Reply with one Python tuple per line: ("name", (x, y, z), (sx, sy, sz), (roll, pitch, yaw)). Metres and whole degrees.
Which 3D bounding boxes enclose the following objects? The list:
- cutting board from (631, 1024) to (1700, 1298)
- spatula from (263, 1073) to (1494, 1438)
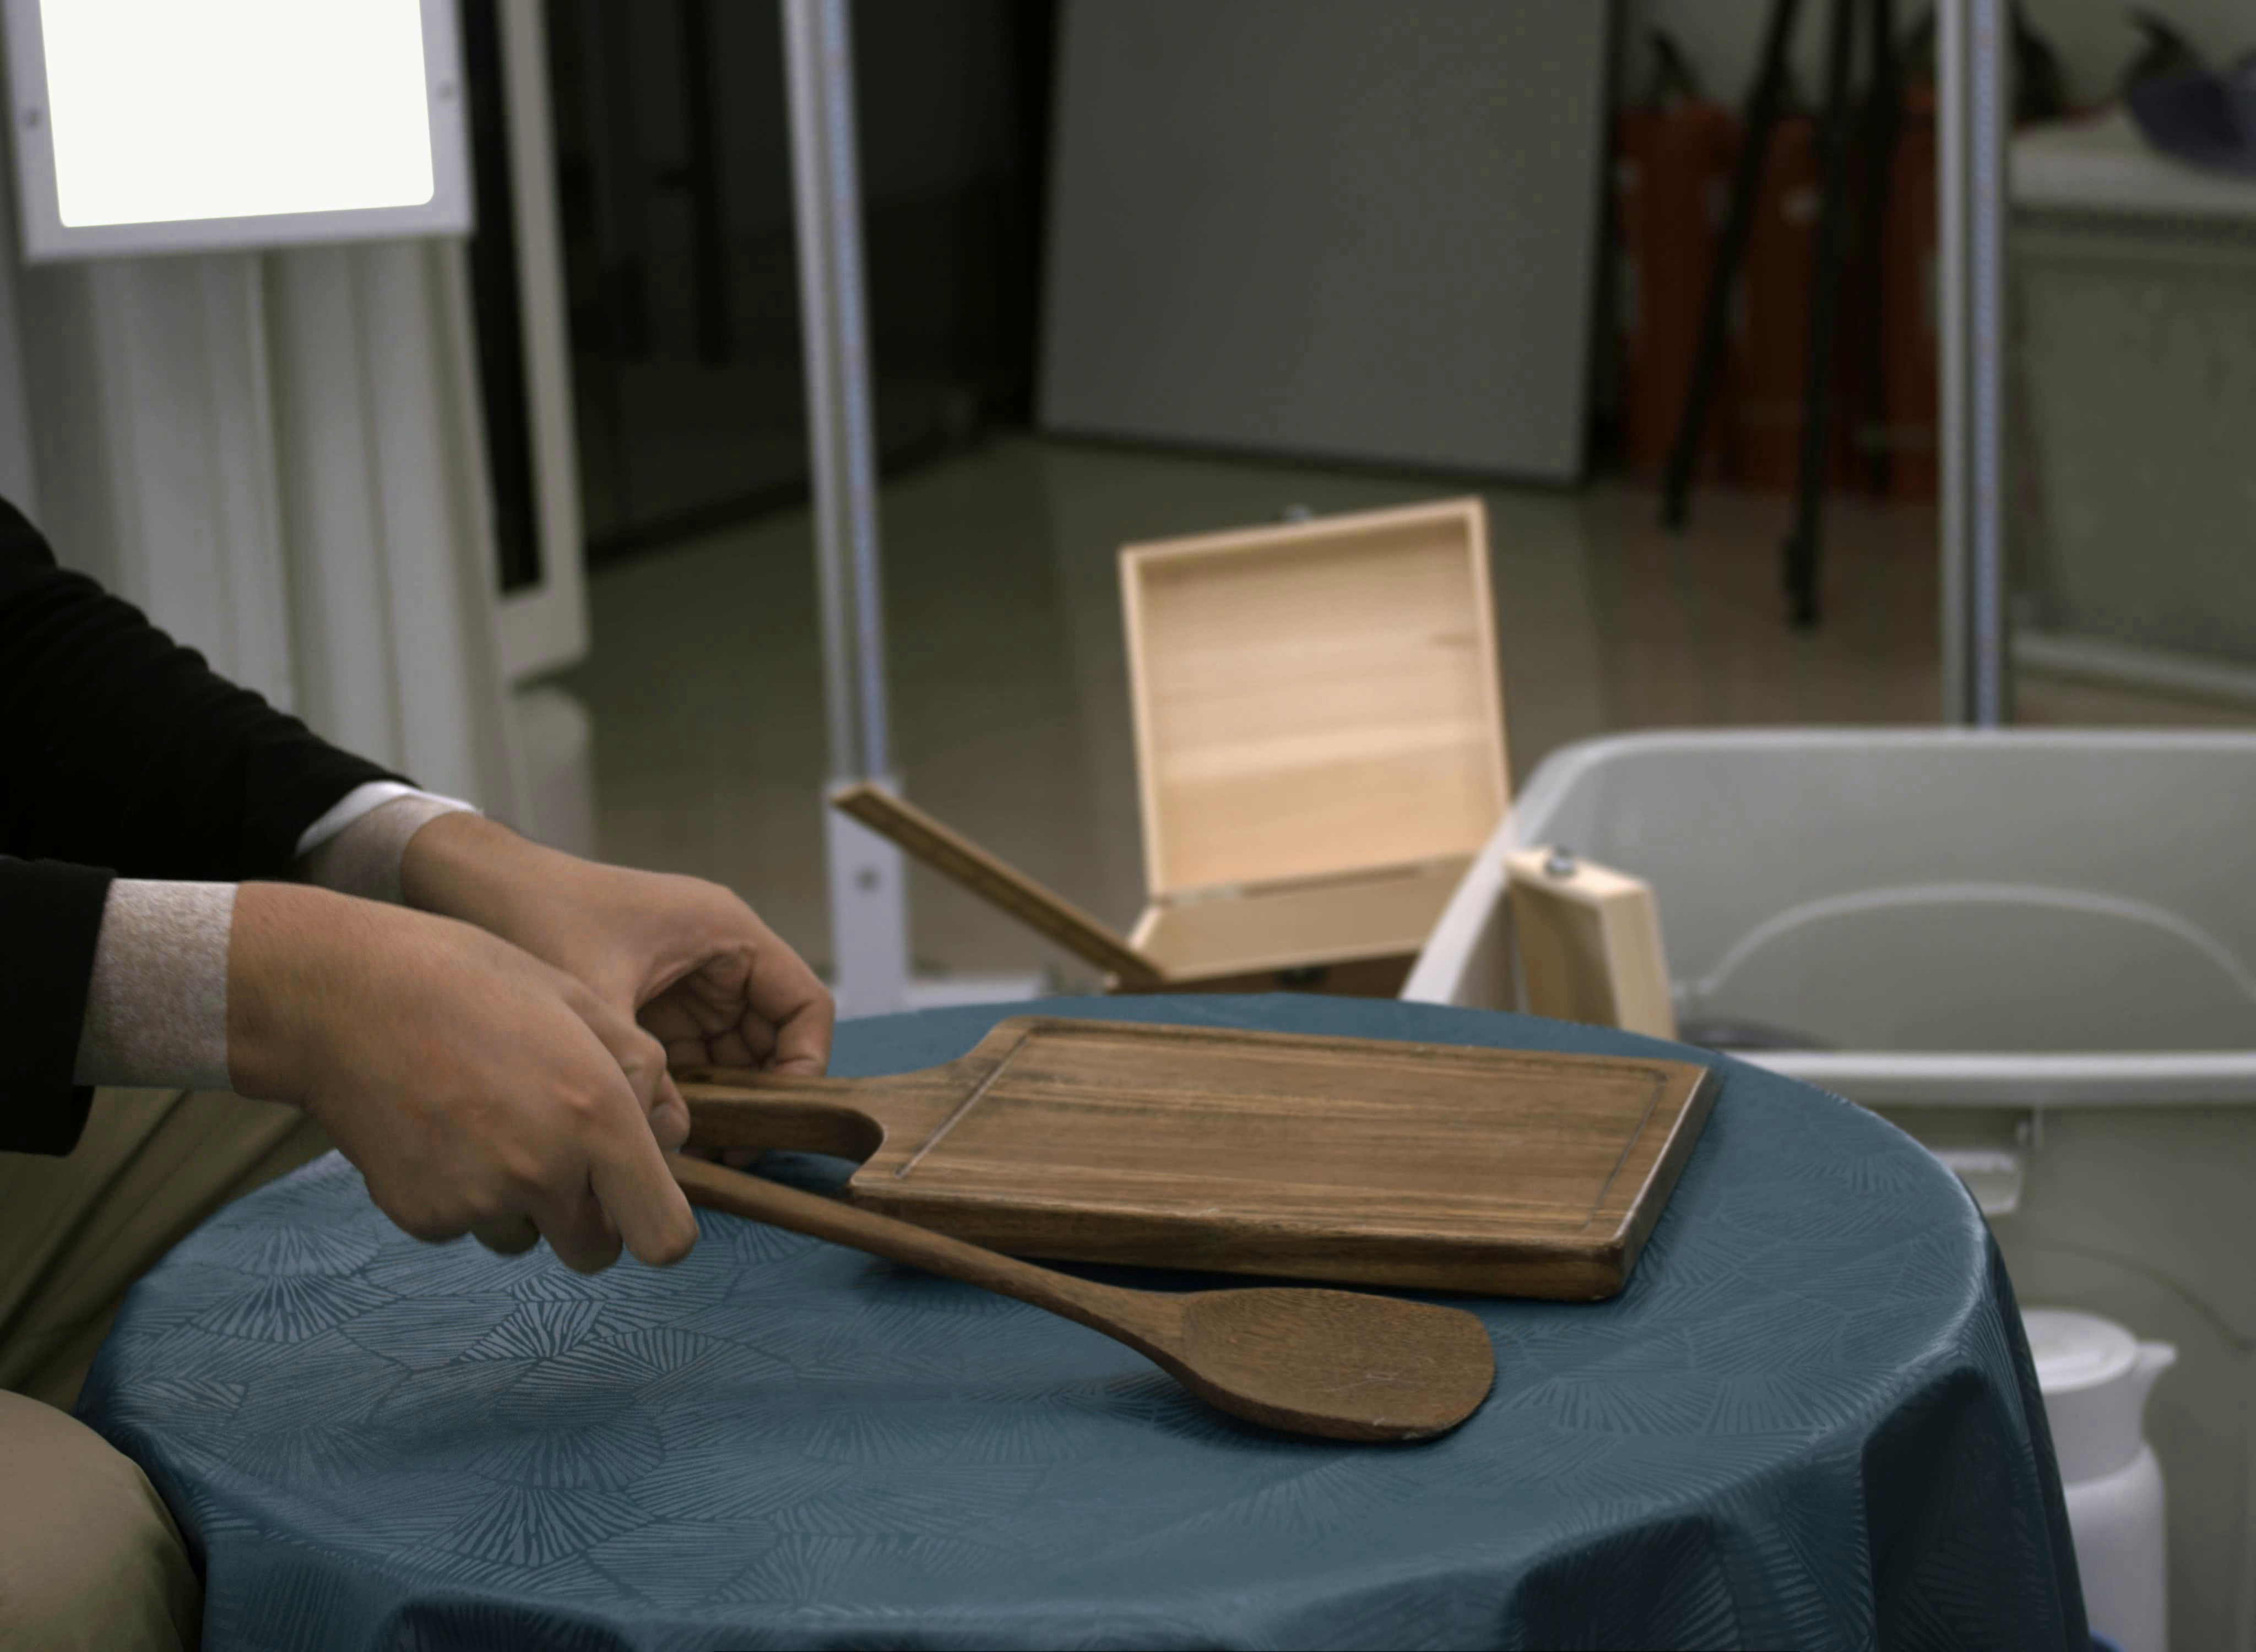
("cutting board", (0.005, 0.104, 1.763), (0.350, 0.023, 0.199), (2, 15, 15))
("spatula", (-0.078, 0.122, 1.599), (0.384, 0.016, 0.095), (14, 20, 12))
